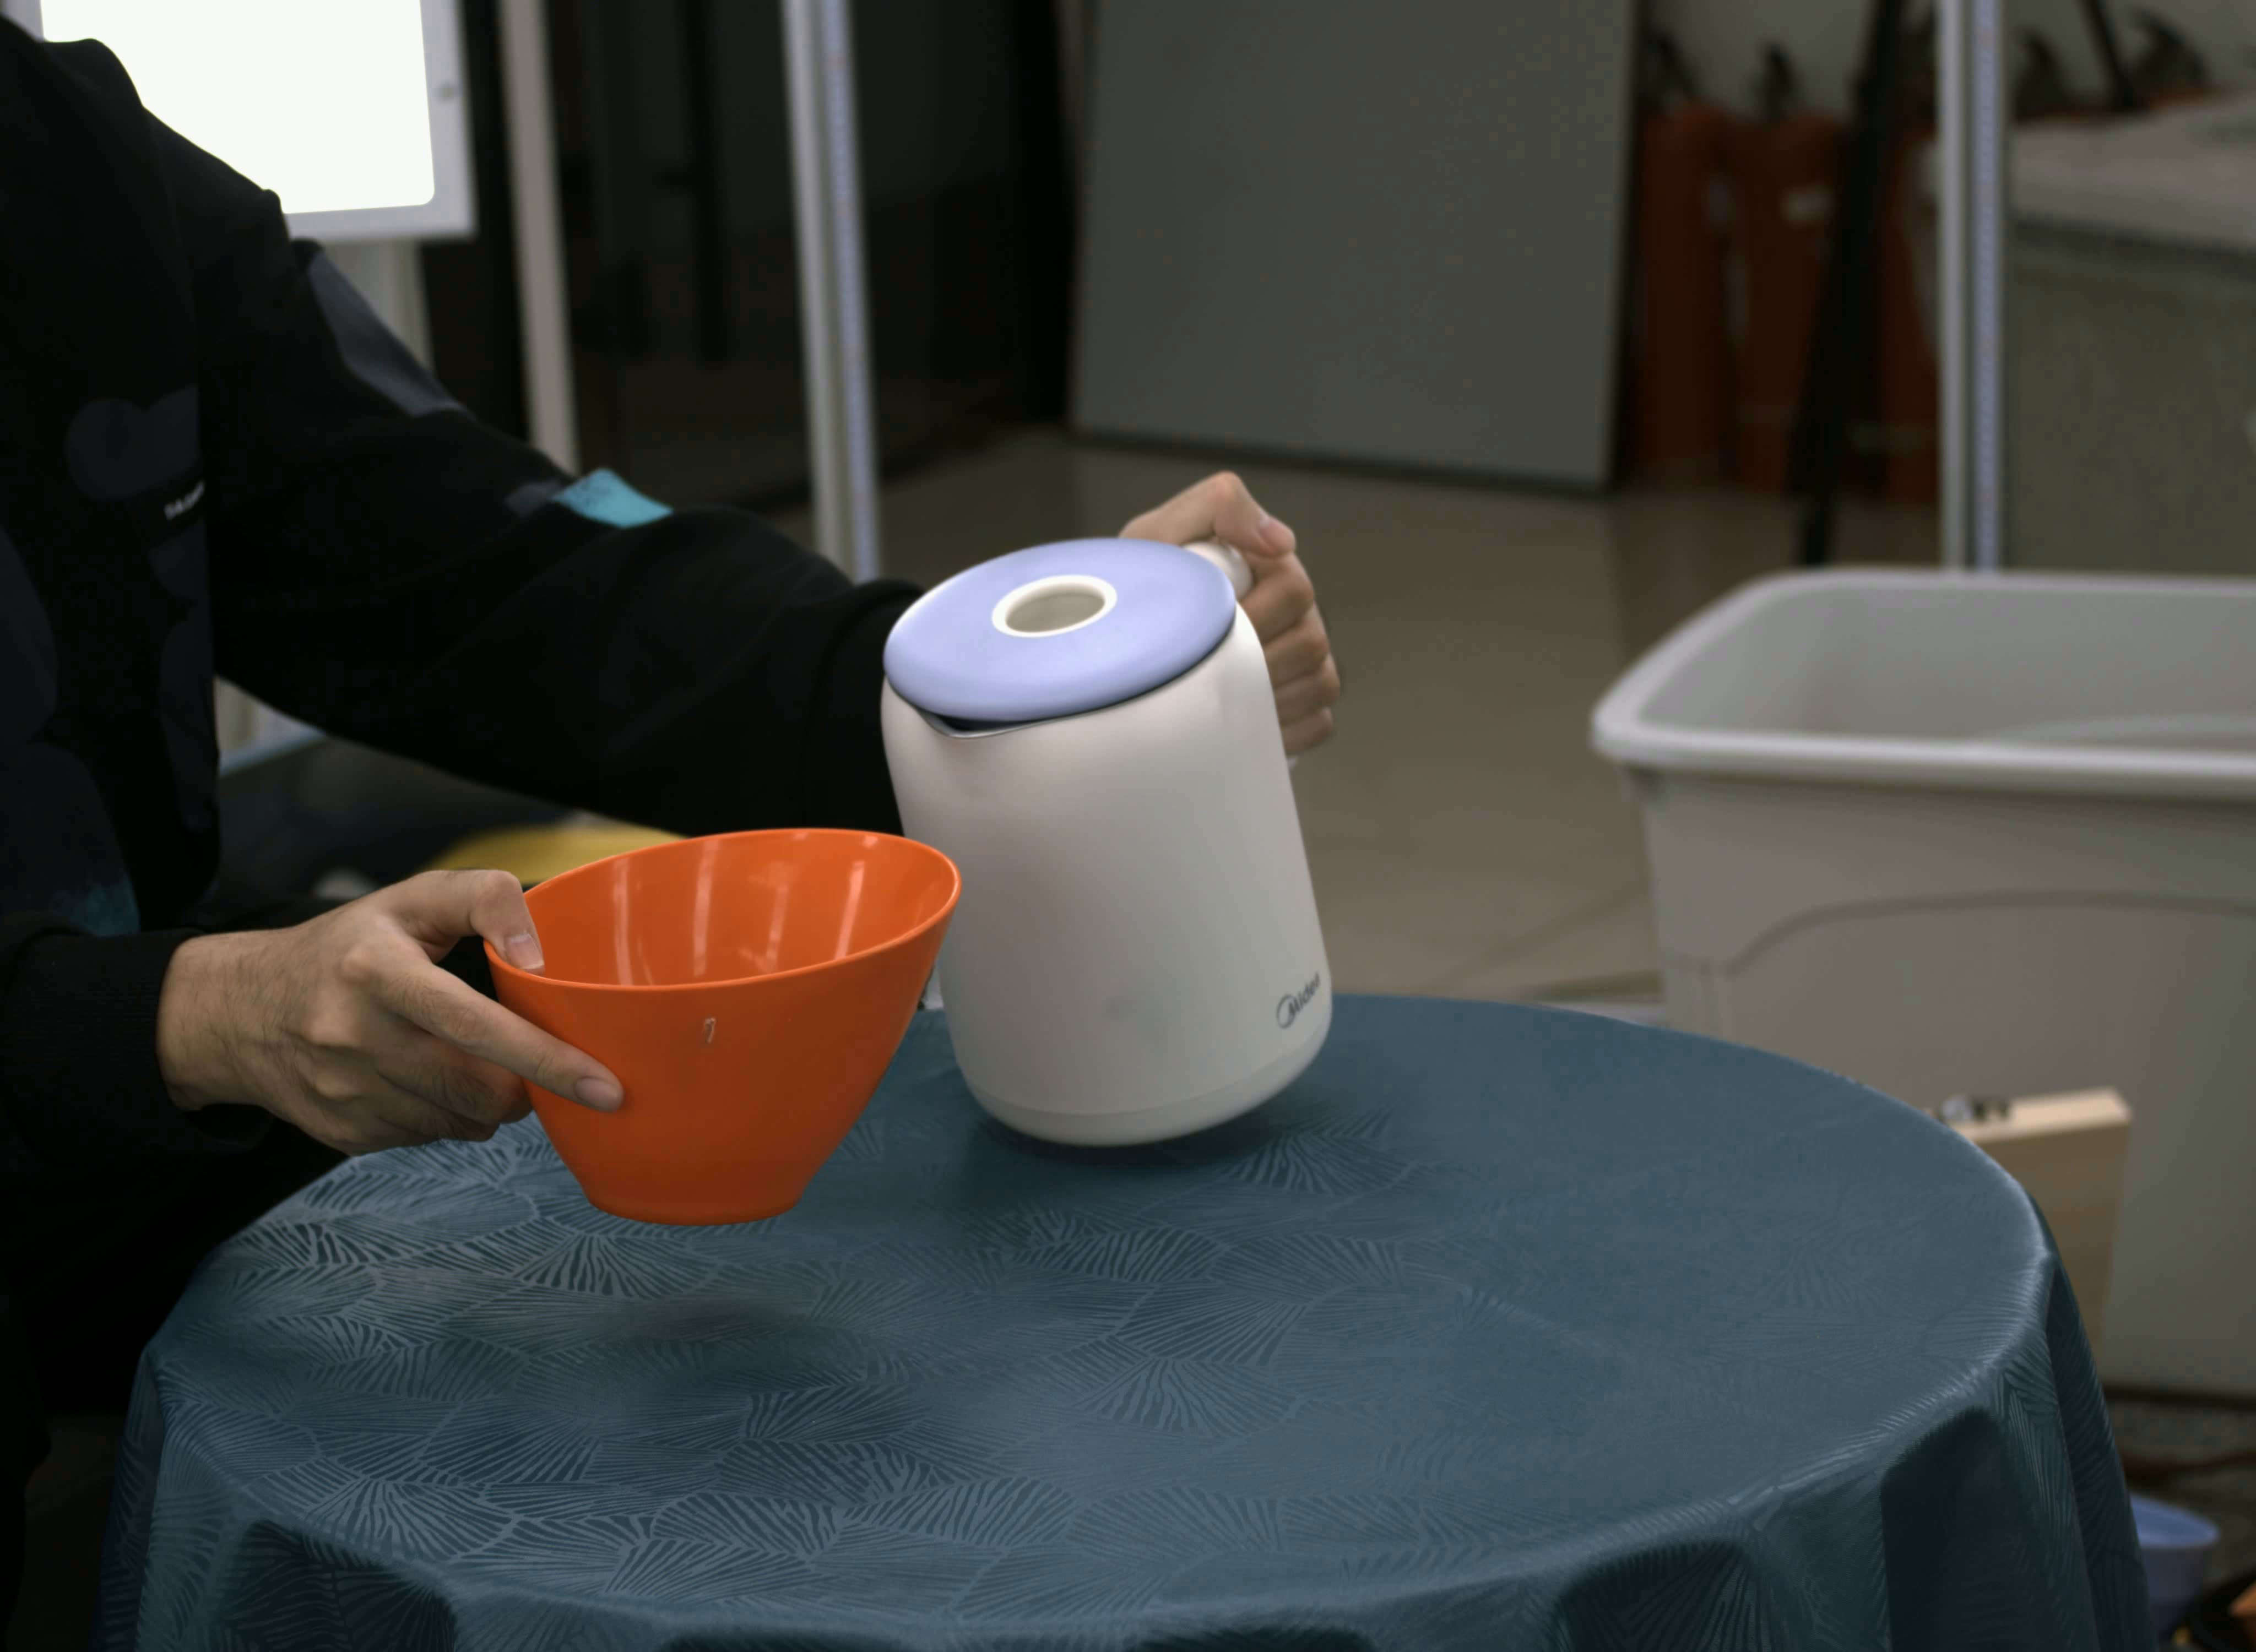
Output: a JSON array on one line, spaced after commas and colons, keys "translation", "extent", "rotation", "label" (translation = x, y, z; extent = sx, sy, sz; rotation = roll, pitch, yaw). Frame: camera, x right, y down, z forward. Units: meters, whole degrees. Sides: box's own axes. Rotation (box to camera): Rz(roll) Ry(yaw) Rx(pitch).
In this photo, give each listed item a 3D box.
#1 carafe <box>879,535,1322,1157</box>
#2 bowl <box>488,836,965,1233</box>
[{"translation": [0.002, -0.005, 1.822], "extent": [0.132, 0.184, 0.189], "rotation": [5, 29, 29], "label": "carafe"}, {"translation": [-0.123, 0.065, 1.664], "extent": [0.146, 0.106, 0.148], "rotation": [1, 10, -1], "label": "bowl"}]
